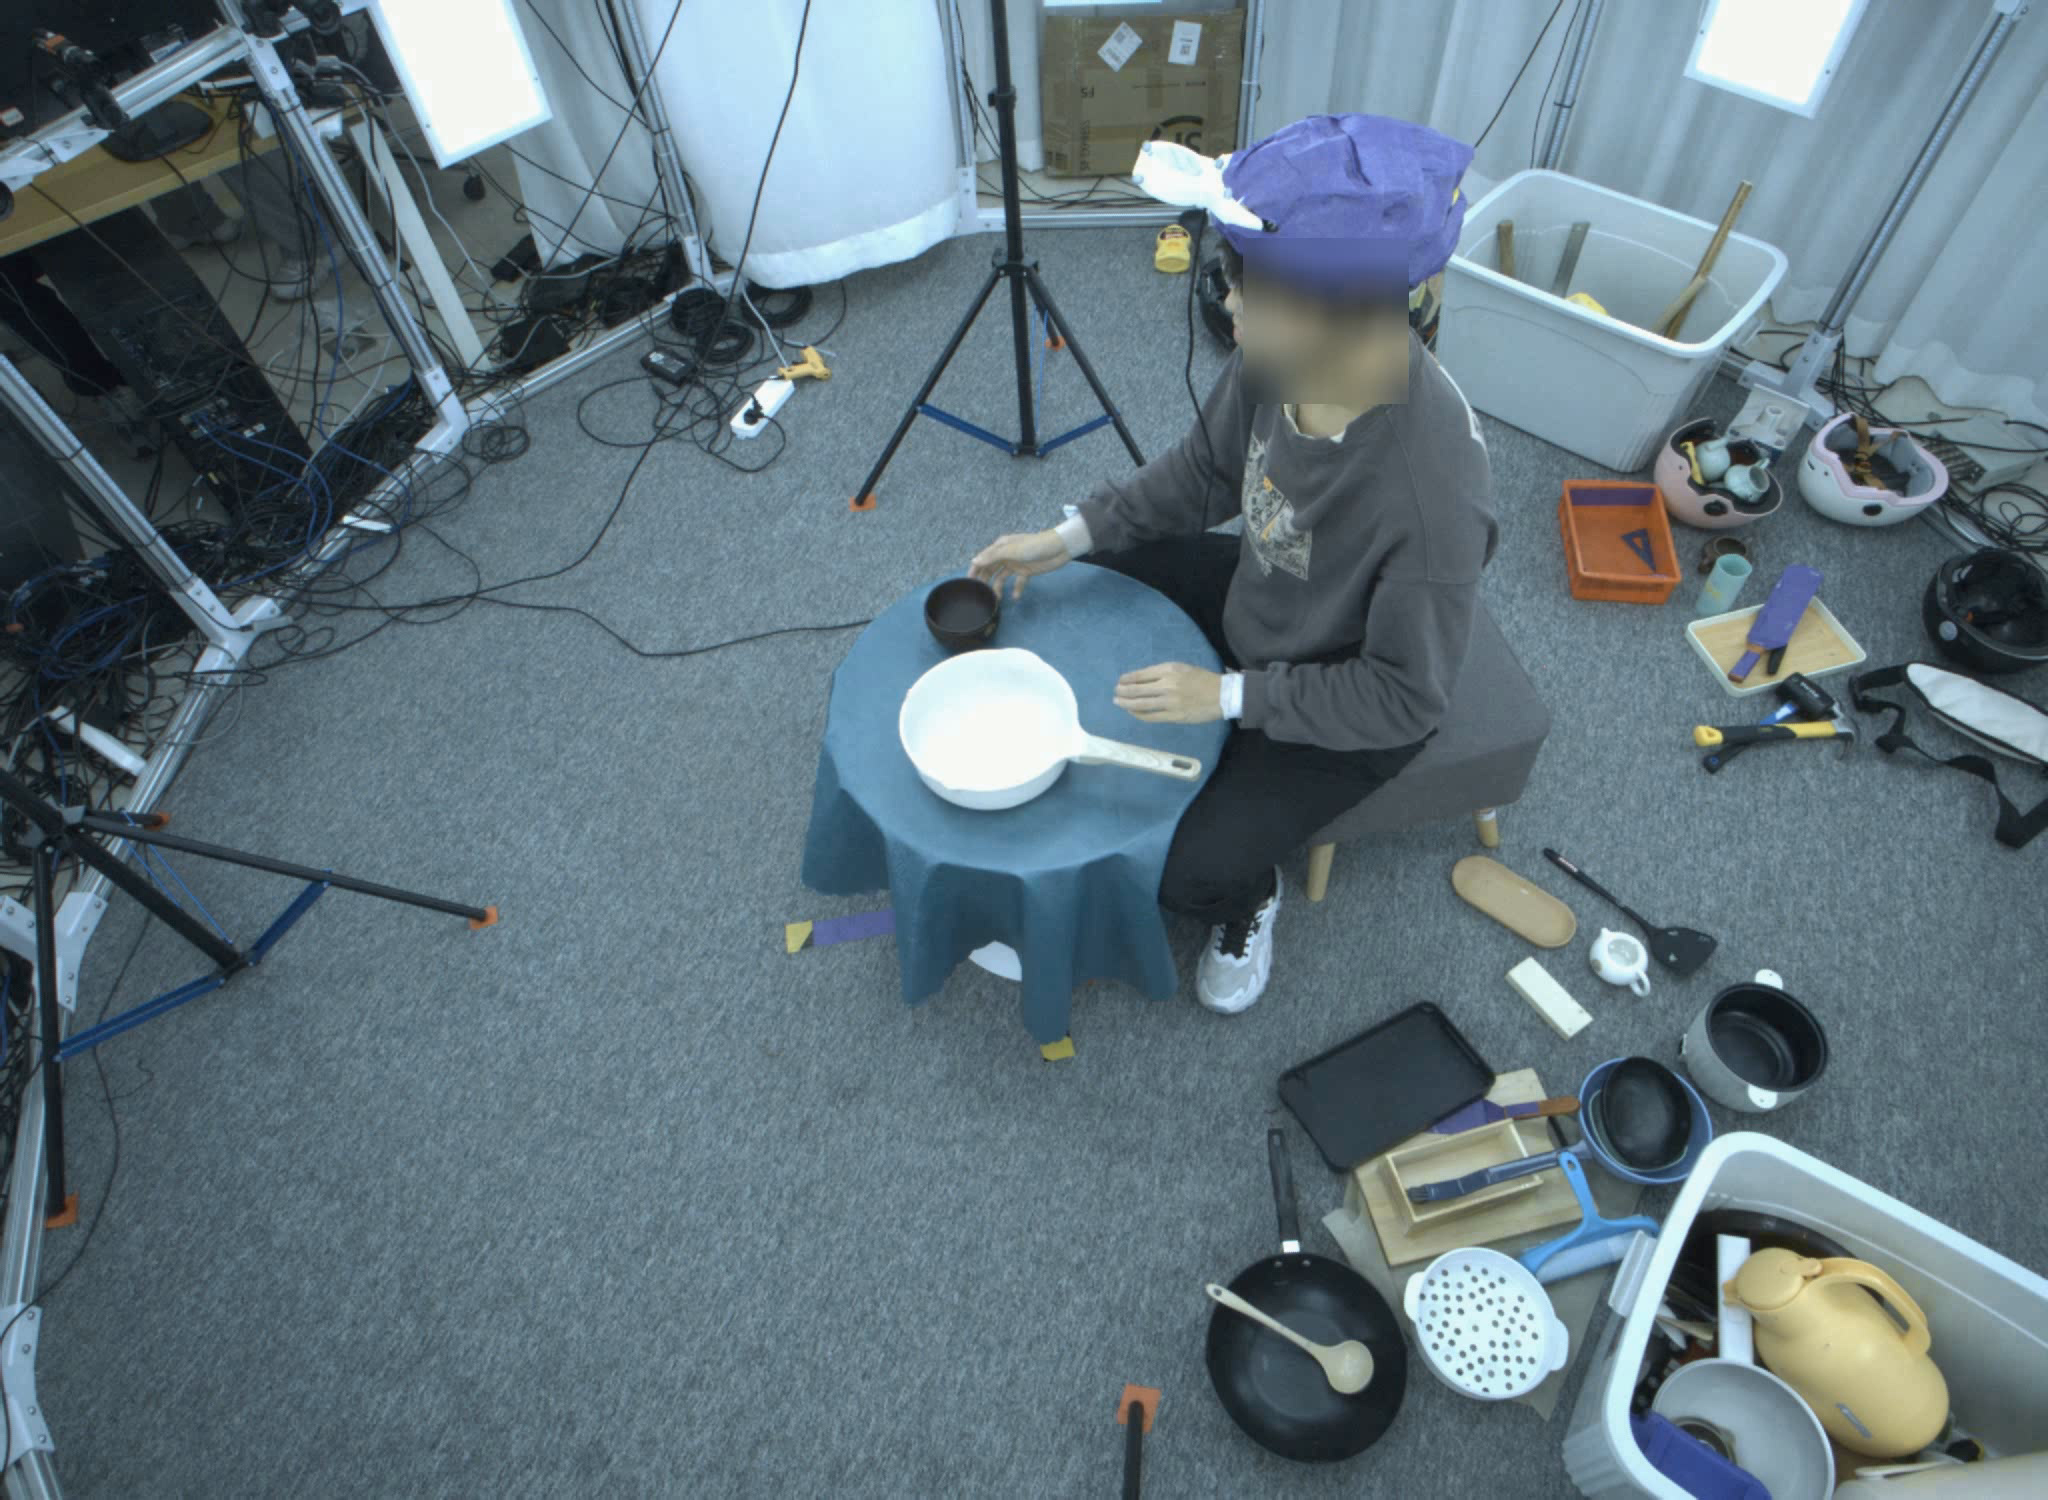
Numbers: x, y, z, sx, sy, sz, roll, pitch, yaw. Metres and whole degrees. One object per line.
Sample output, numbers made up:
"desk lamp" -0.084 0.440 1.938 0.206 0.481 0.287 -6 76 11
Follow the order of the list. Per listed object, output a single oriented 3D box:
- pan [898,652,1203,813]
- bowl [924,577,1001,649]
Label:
"pan" 0.036 0.002 1.722 0.430 0.103 0.263 17 55 13
"bowl" -0.094 -0.203 1.890 0.118 0.070 0.117 0 53 1
